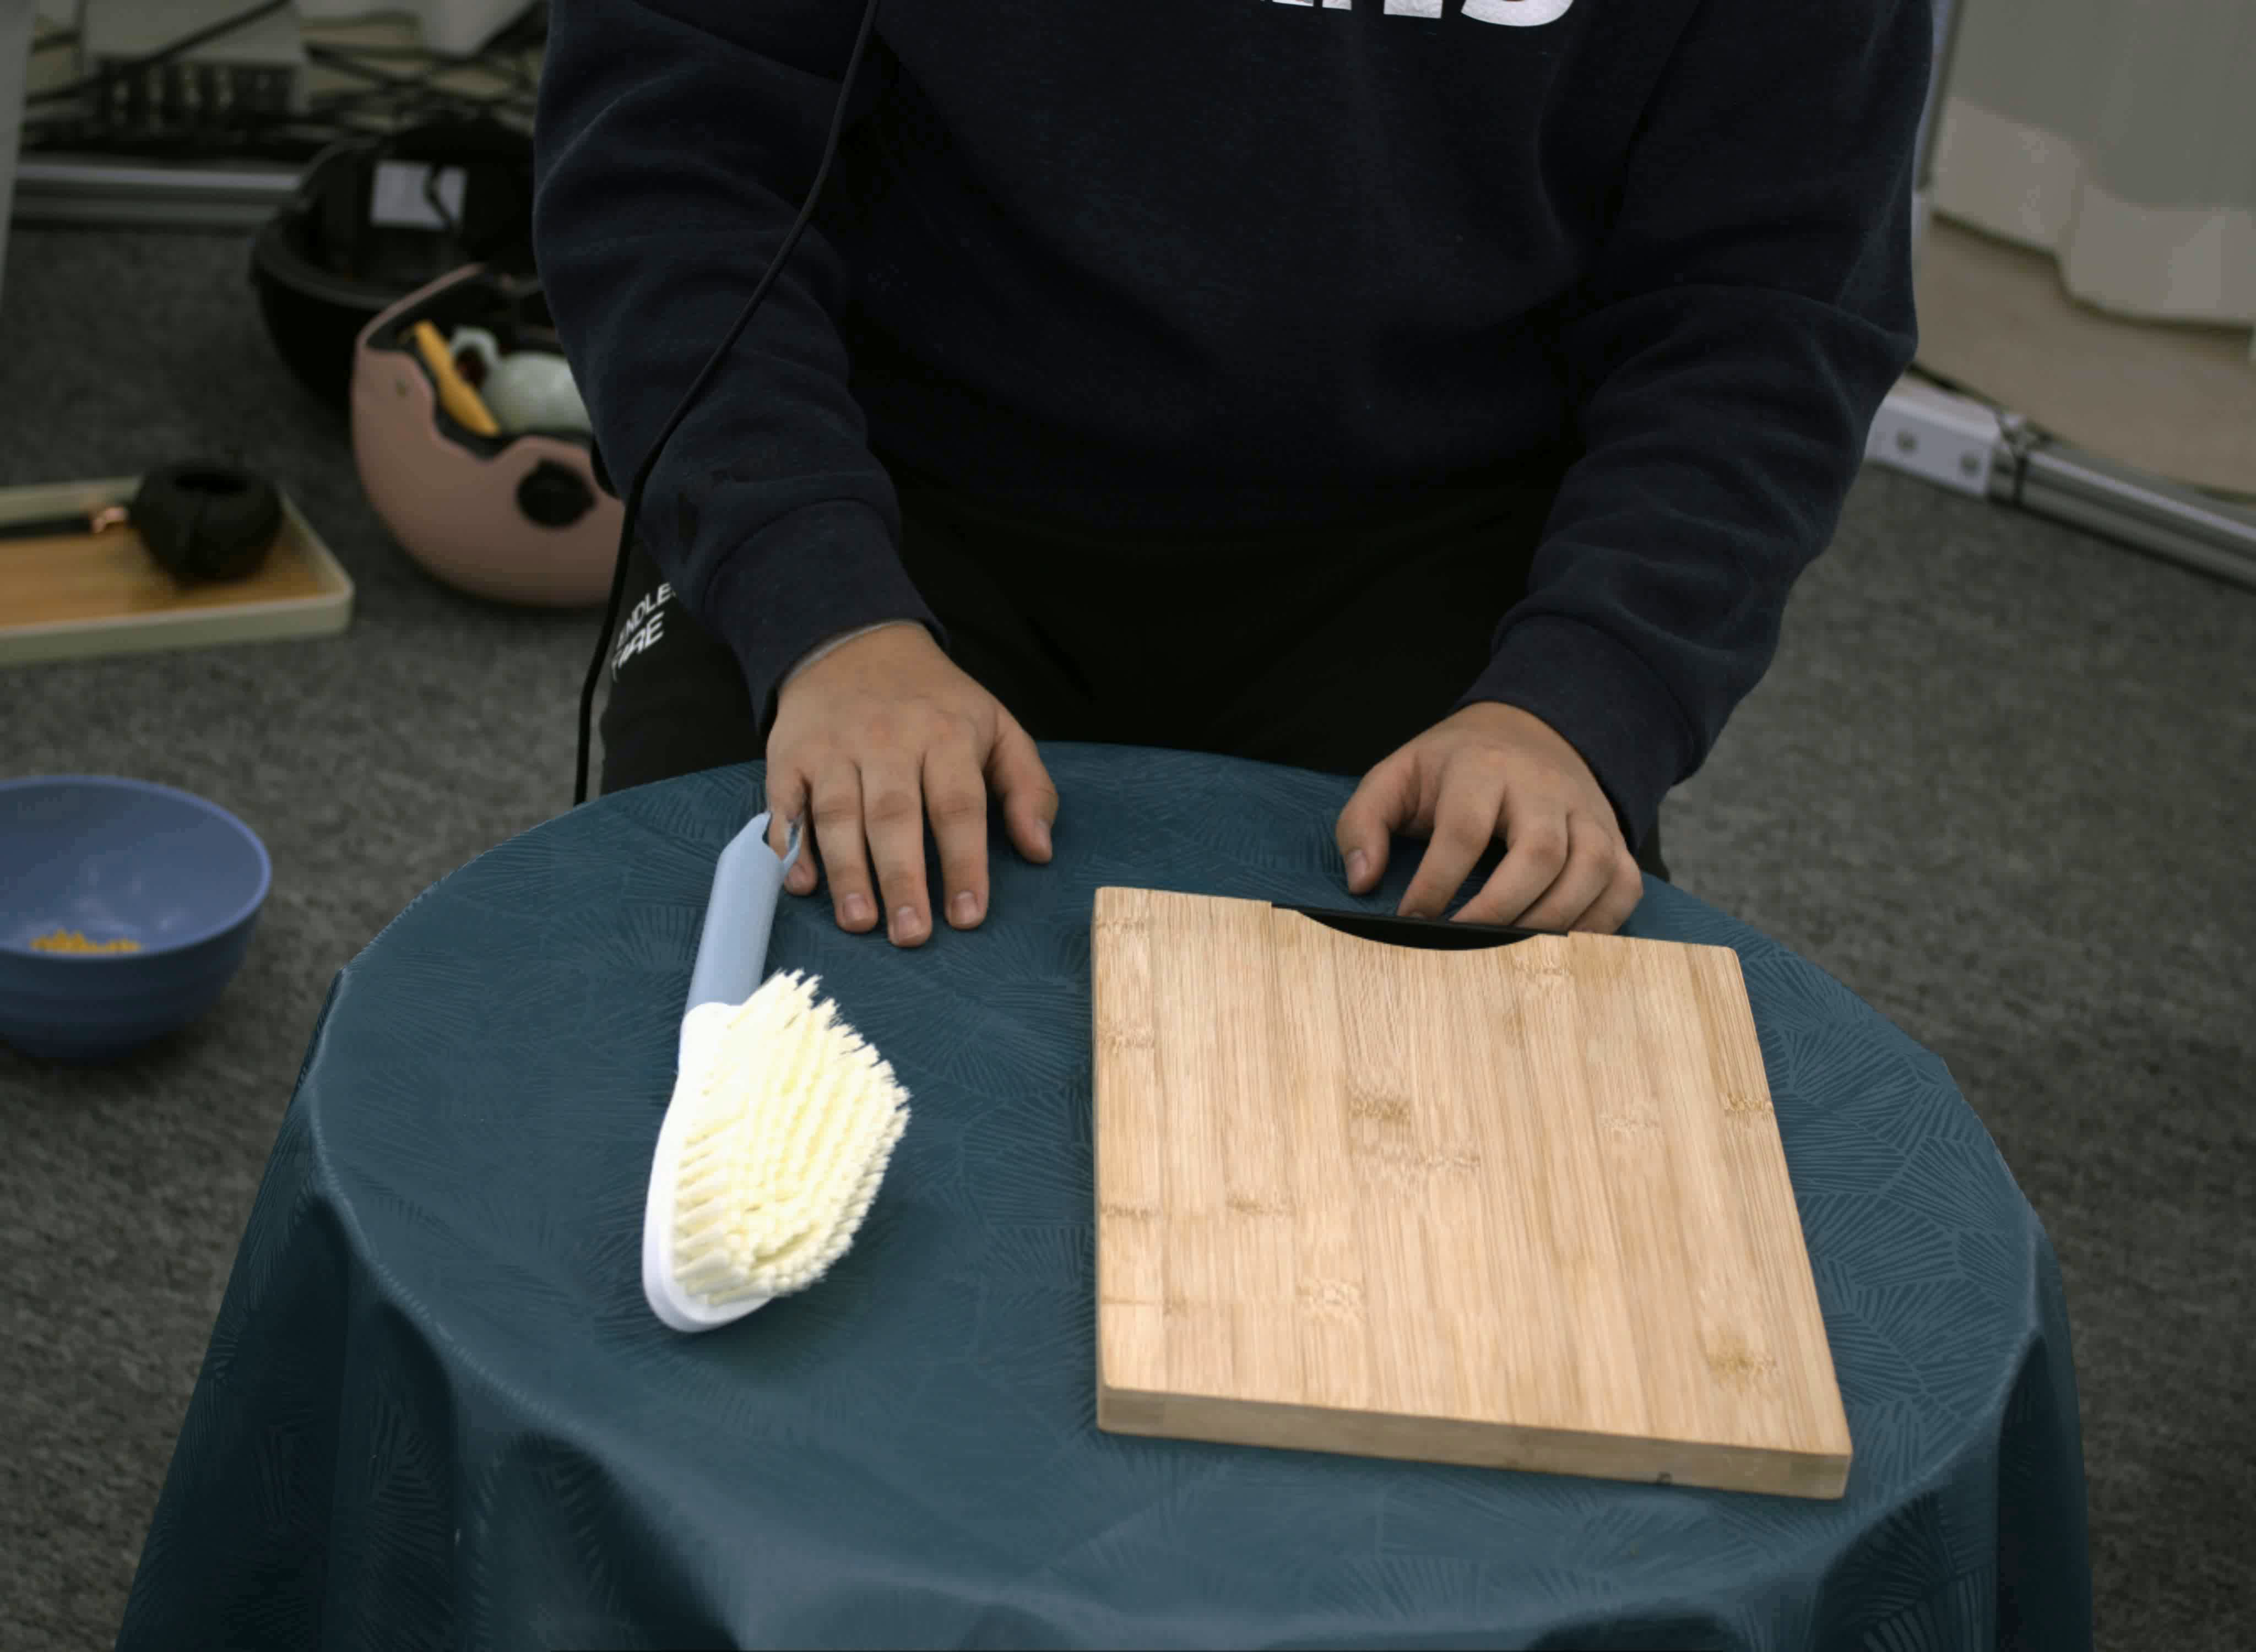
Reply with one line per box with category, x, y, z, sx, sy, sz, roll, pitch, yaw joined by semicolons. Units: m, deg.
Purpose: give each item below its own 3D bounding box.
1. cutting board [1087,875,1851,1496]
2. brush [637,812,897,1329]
cutting board;0.108;0.116;1.829;0.250;0.023;0.351;6;27;-4
brush;-0.117;0.058;1.815;0.084;0.083;0.327;-1;28;3
